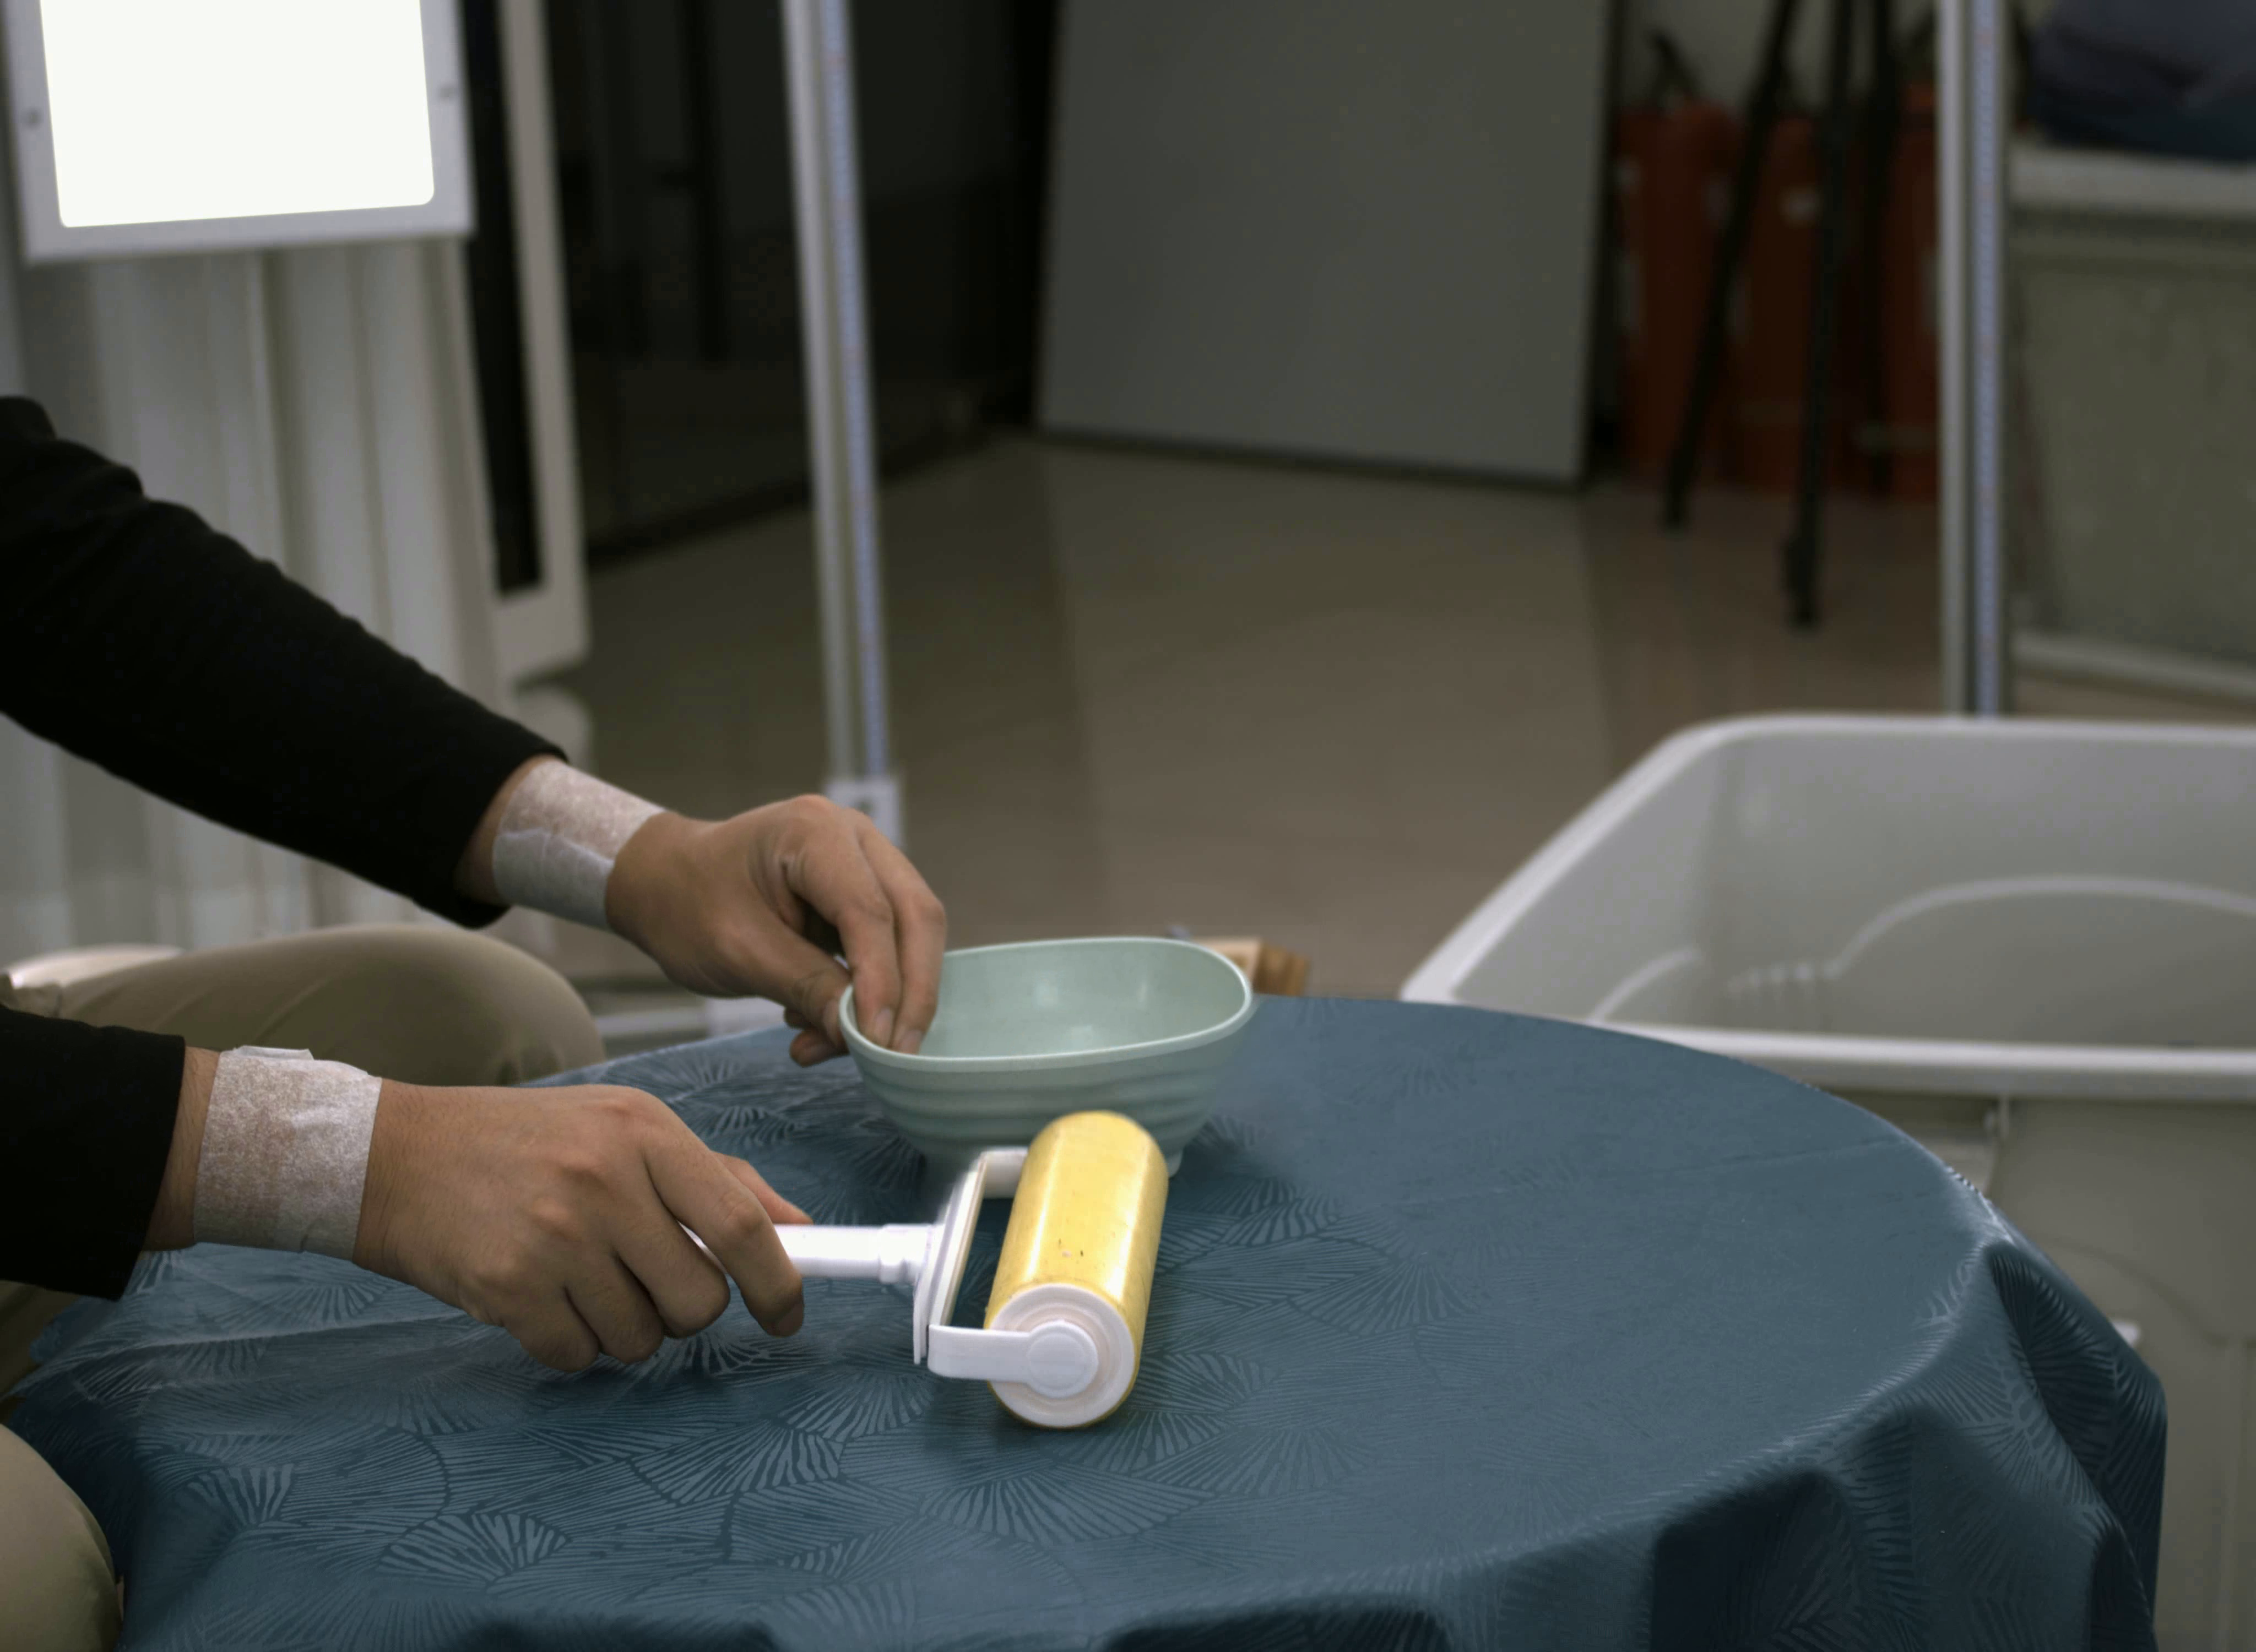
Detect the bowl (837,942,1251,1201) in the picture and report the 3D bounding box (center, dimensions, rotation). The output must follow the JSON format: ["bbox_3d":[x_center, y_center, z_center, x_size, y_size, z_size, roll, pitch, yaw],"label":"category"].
[{"bbox_3d":[-0.027,0.085,1.804,0.149,0.059,0.152,-2,14,0],"label":"bowl"}]

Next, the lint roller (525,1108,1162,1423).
[{"bbox_3d":[-0.085,0.120,1.626,0.189,0.052,0.174,11,15,0],"label":"lint roller"}]
